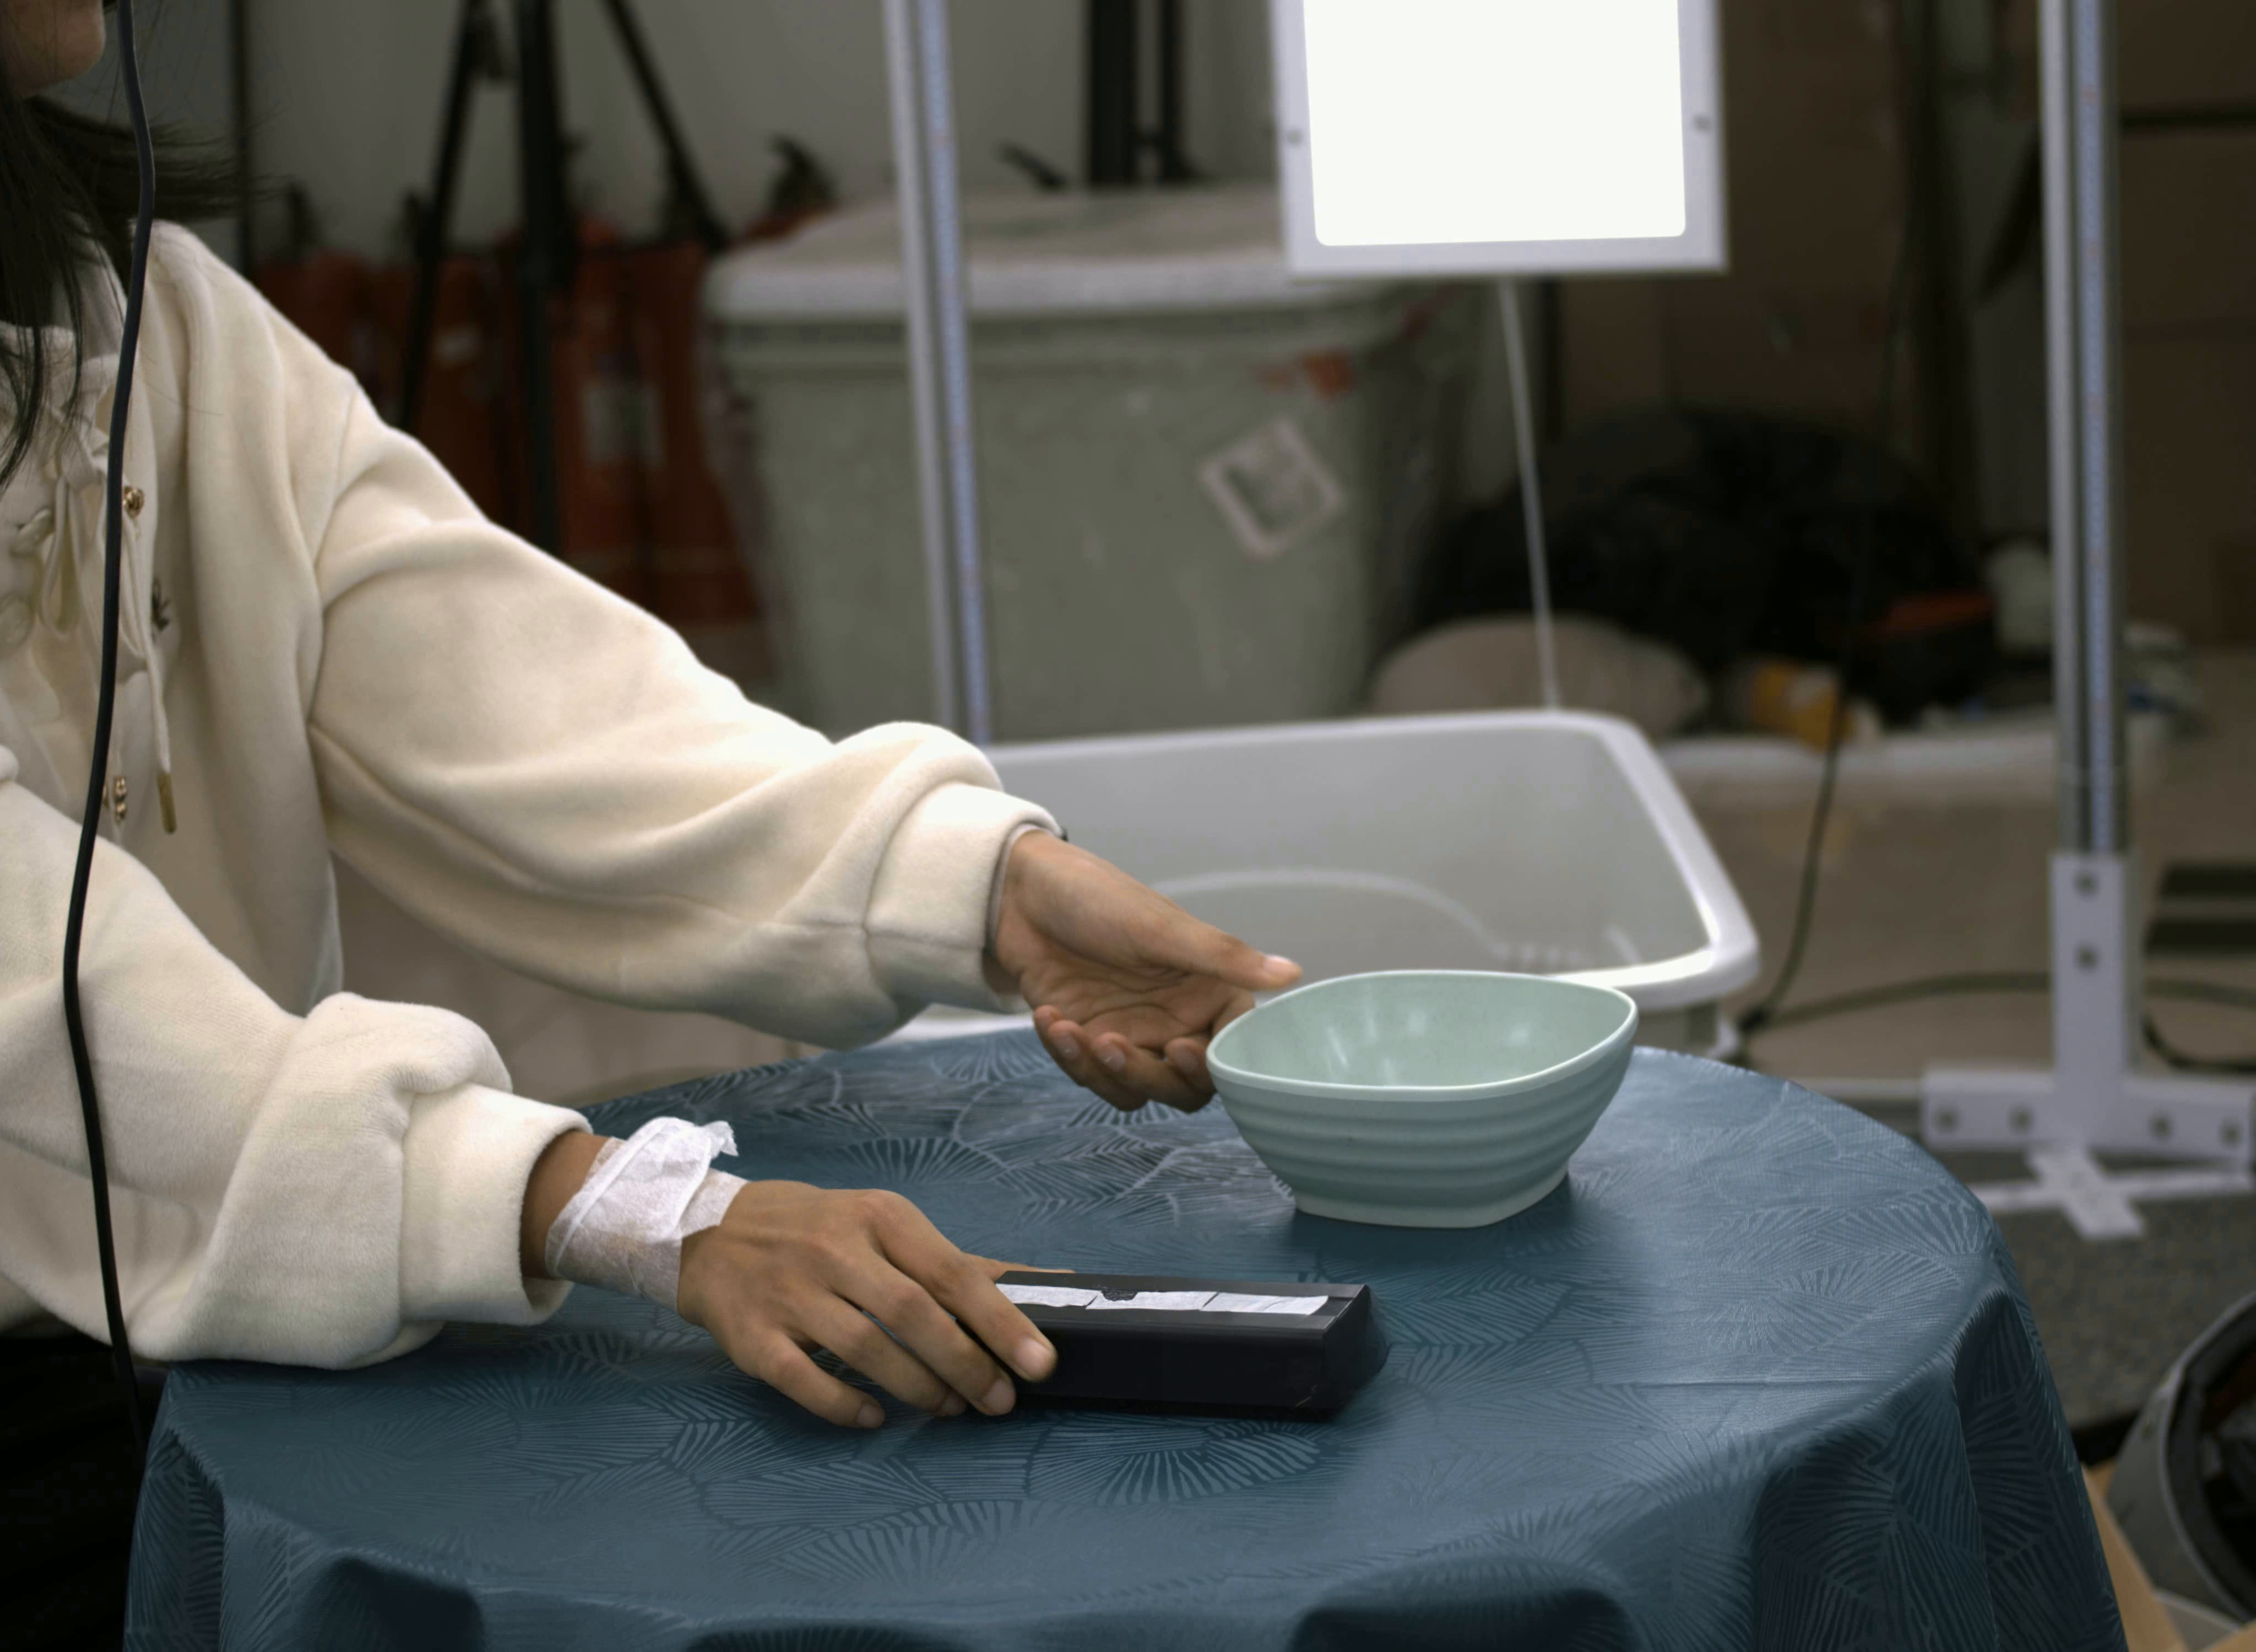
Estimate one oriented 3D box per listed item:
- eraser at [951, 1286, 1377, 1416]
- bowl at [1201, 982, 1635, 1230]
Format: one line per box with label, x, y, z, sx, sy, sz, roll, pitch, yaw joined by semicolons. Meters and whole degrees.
eraser;0.013;0.161;1.696;0.127;0.030;0.052;-2;12;21
bowl;0.100;0.097;1.865;0.151;0.059;0.151;-3;12;-1
